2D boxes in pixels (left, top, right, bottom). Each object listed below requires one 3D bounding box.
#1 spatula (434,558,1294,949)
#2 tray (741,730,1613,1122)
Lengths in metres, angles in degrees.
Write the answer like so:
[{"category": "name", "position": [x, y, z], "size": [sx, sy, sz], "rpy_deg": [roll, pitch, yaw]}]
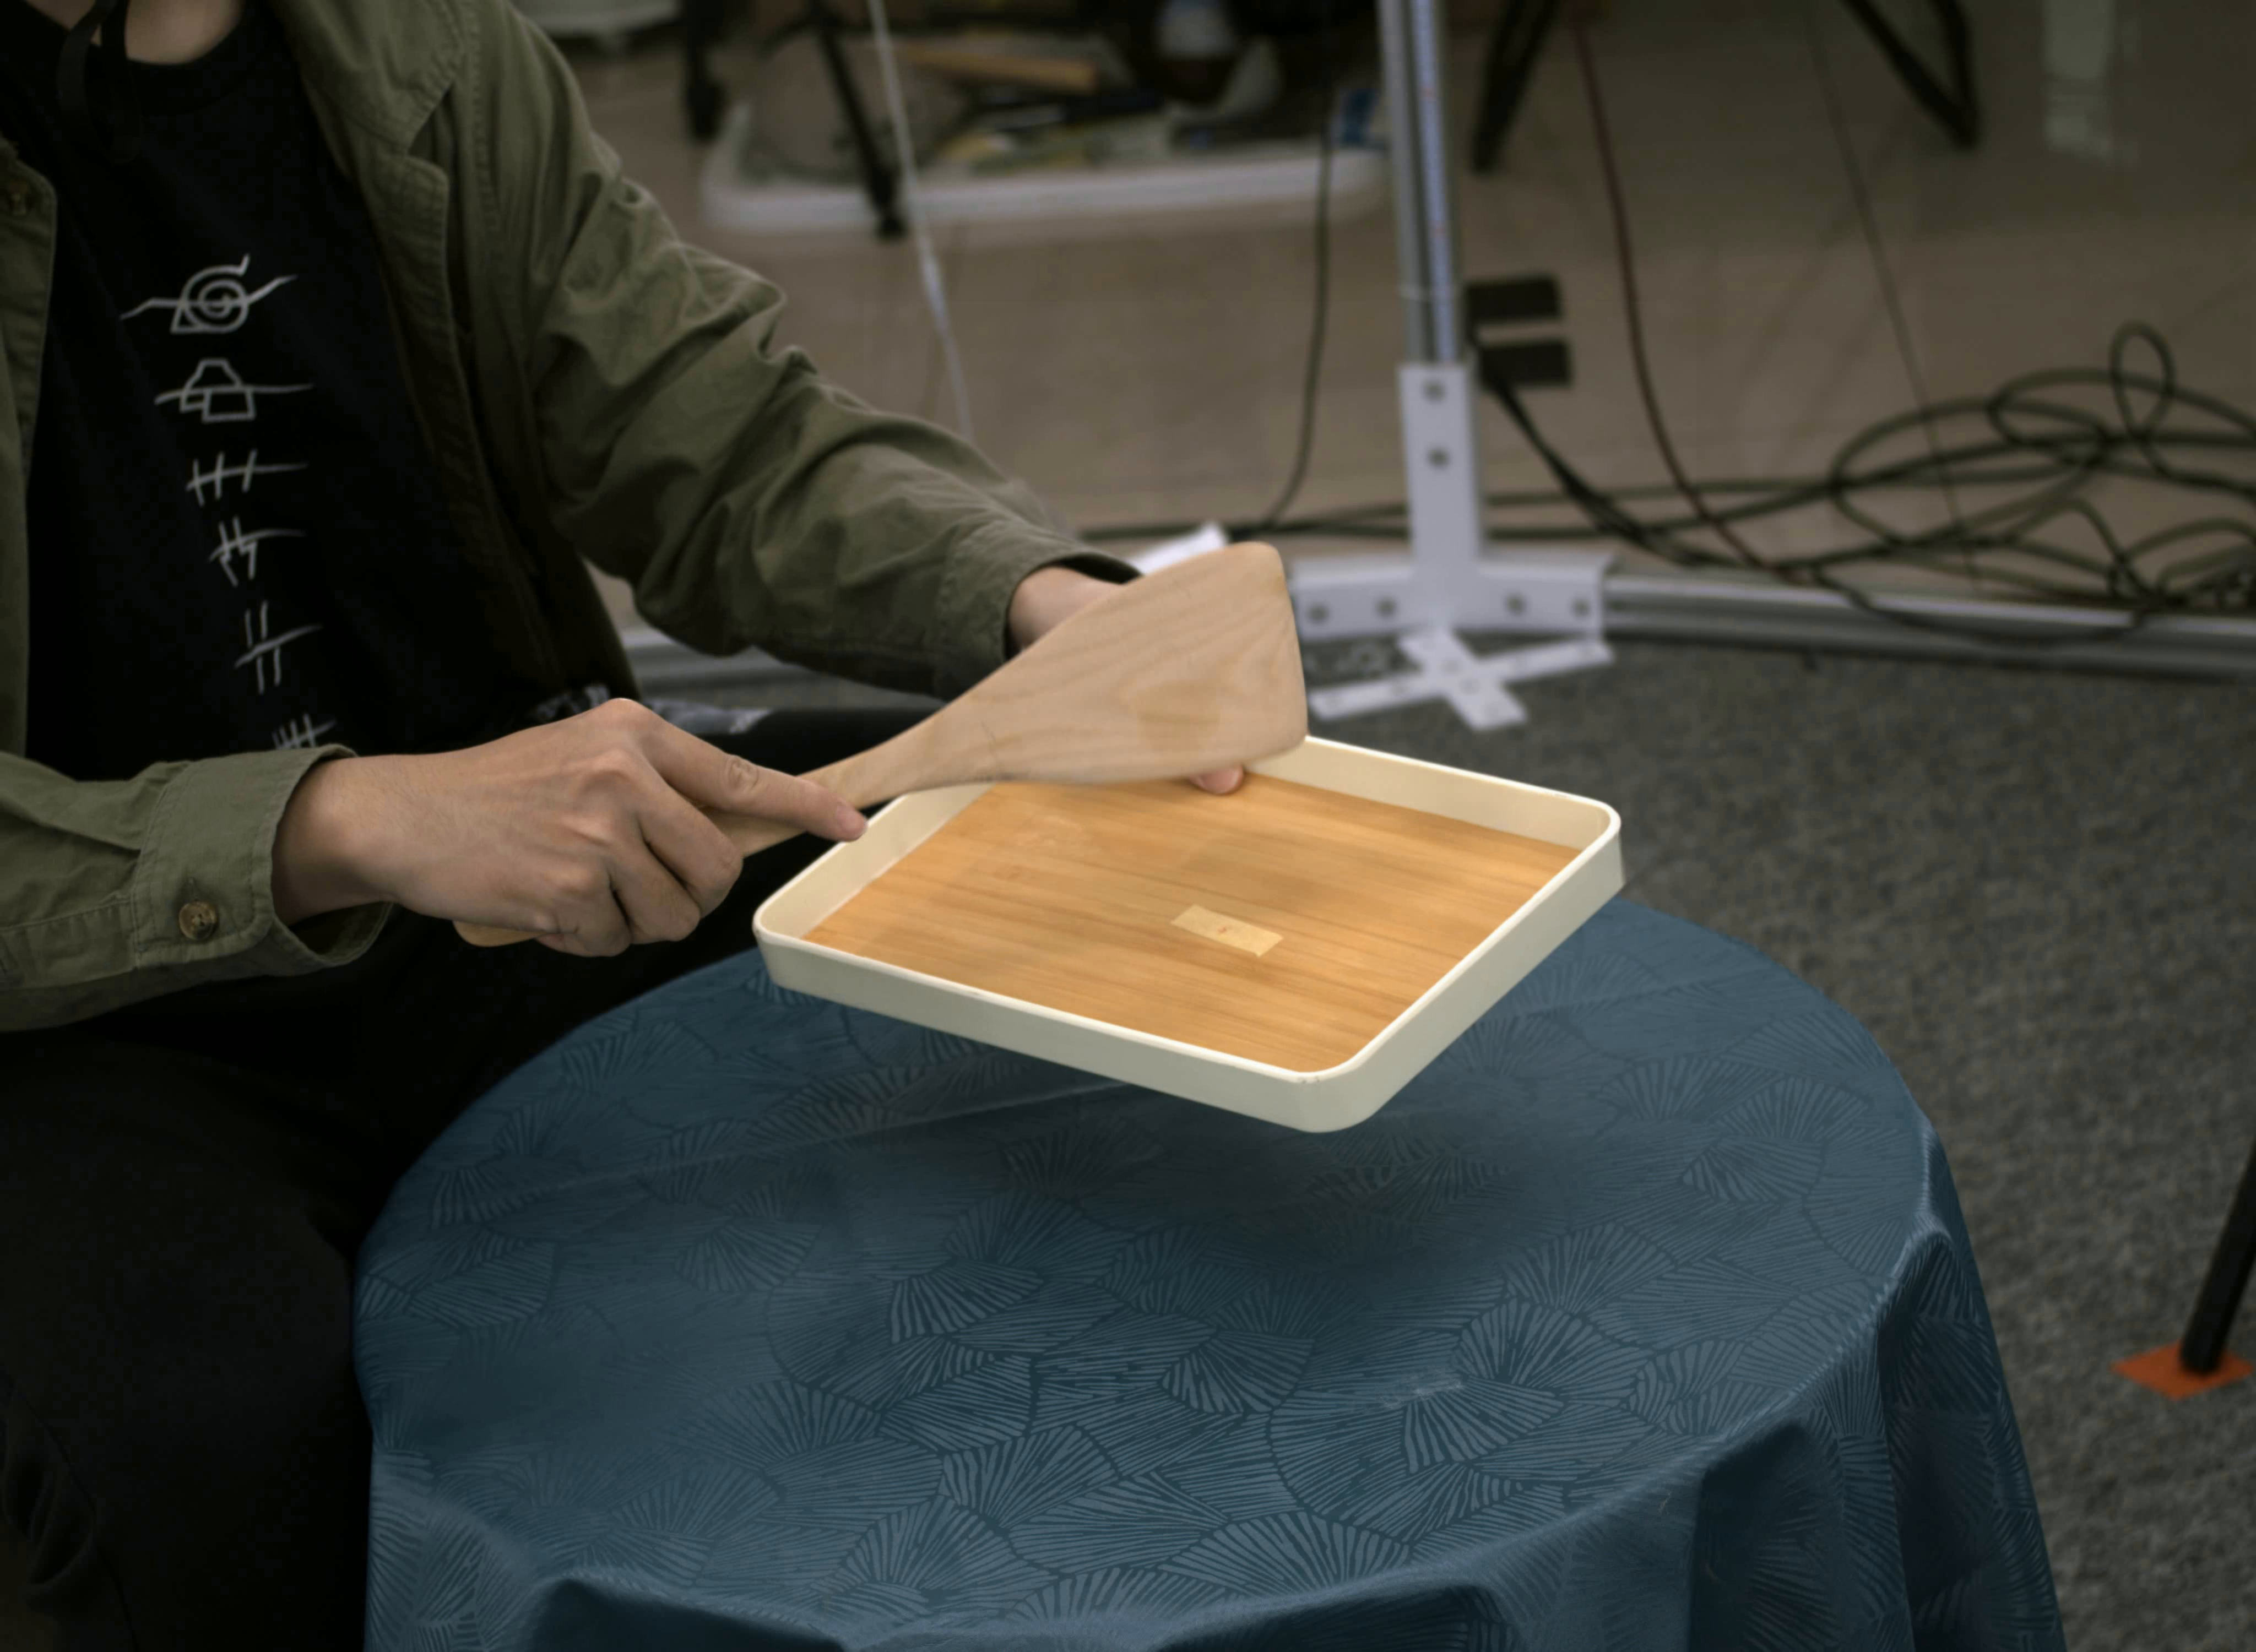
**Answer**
[{"category": "spatula", "position": [-0.093, -0.014, 2.046], "size": [0.327, 0.080, 0.016], "rpy_deg": [-18, 0, -4]}, {"category": "tray", "position": [0.016, 0.025, 2.137], "size": [0.298, 0.028, 0.189], "rpy_deg": [13, 40, 41]}]
